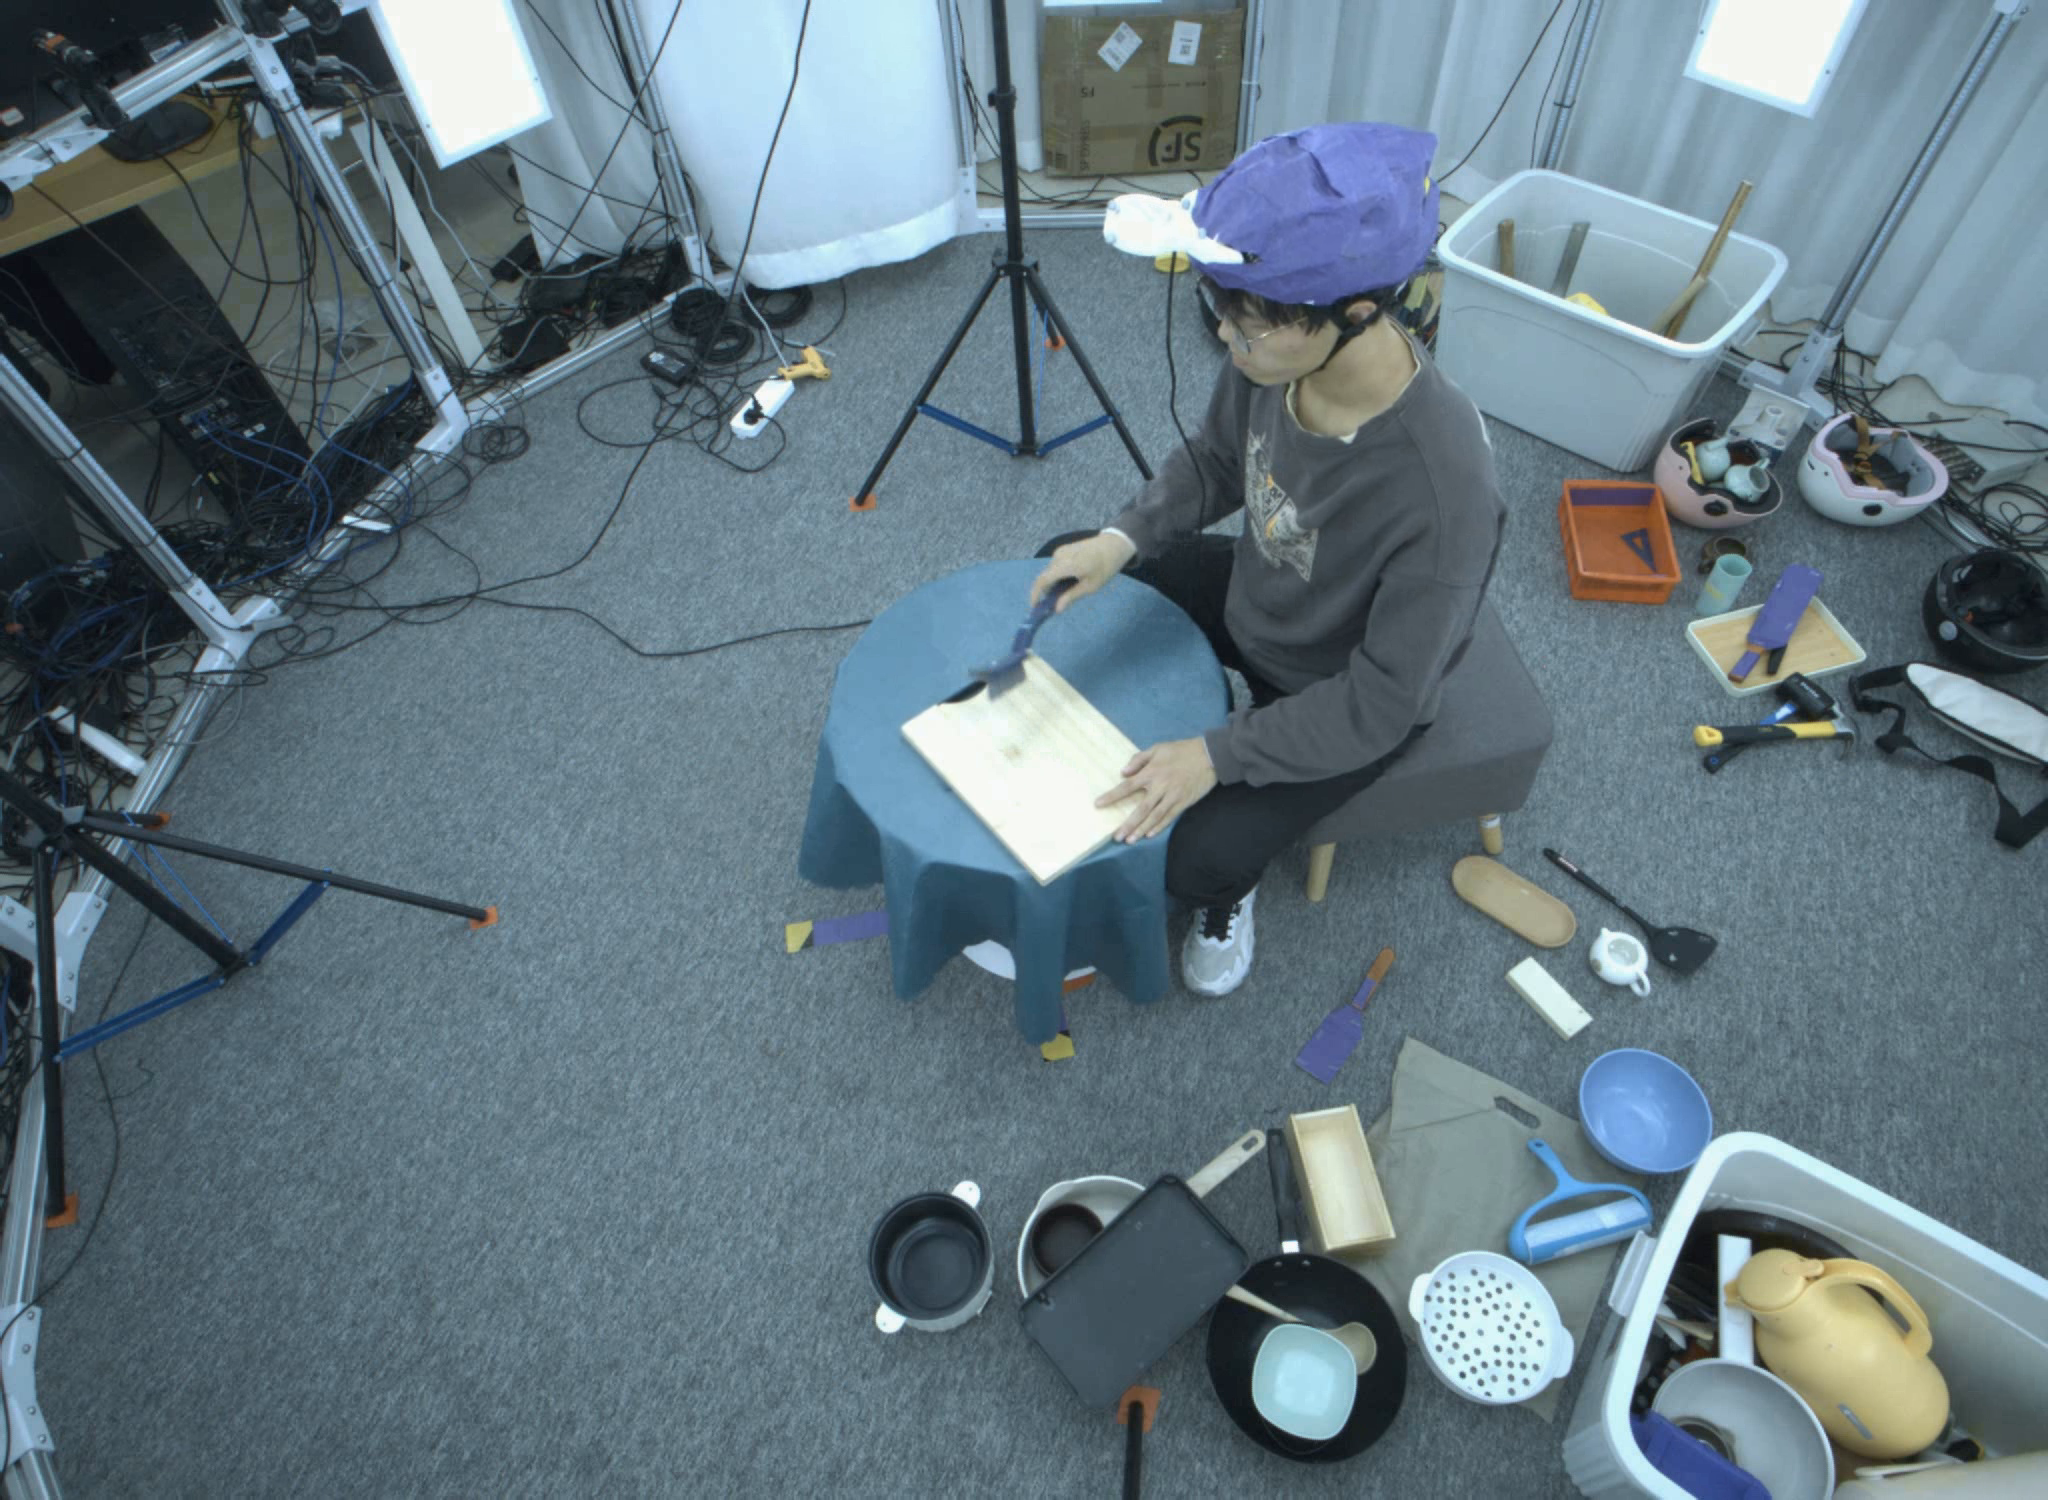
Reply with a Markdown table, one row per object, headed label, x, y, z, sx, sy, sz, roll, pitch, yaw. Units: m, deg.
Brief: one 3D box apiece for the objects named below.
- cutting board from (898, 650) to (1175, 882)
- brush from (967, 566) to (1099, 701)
| label | x | y | z | sx | sy | sz | roll | pitch | yaw |
| --- | --- | --- | --- | --- | --- | --- | --- | --- | --- |
| cutting board | 0.013 | 0.009 | 1.768 | 0.253 | 0.024 | 0.342 | -34 | 60 | -21 |
| brush | 0.018 | -0.182 | 1.745 | 0.033 | 0.098 | 0.273 | 11 | 60 | 41 |
